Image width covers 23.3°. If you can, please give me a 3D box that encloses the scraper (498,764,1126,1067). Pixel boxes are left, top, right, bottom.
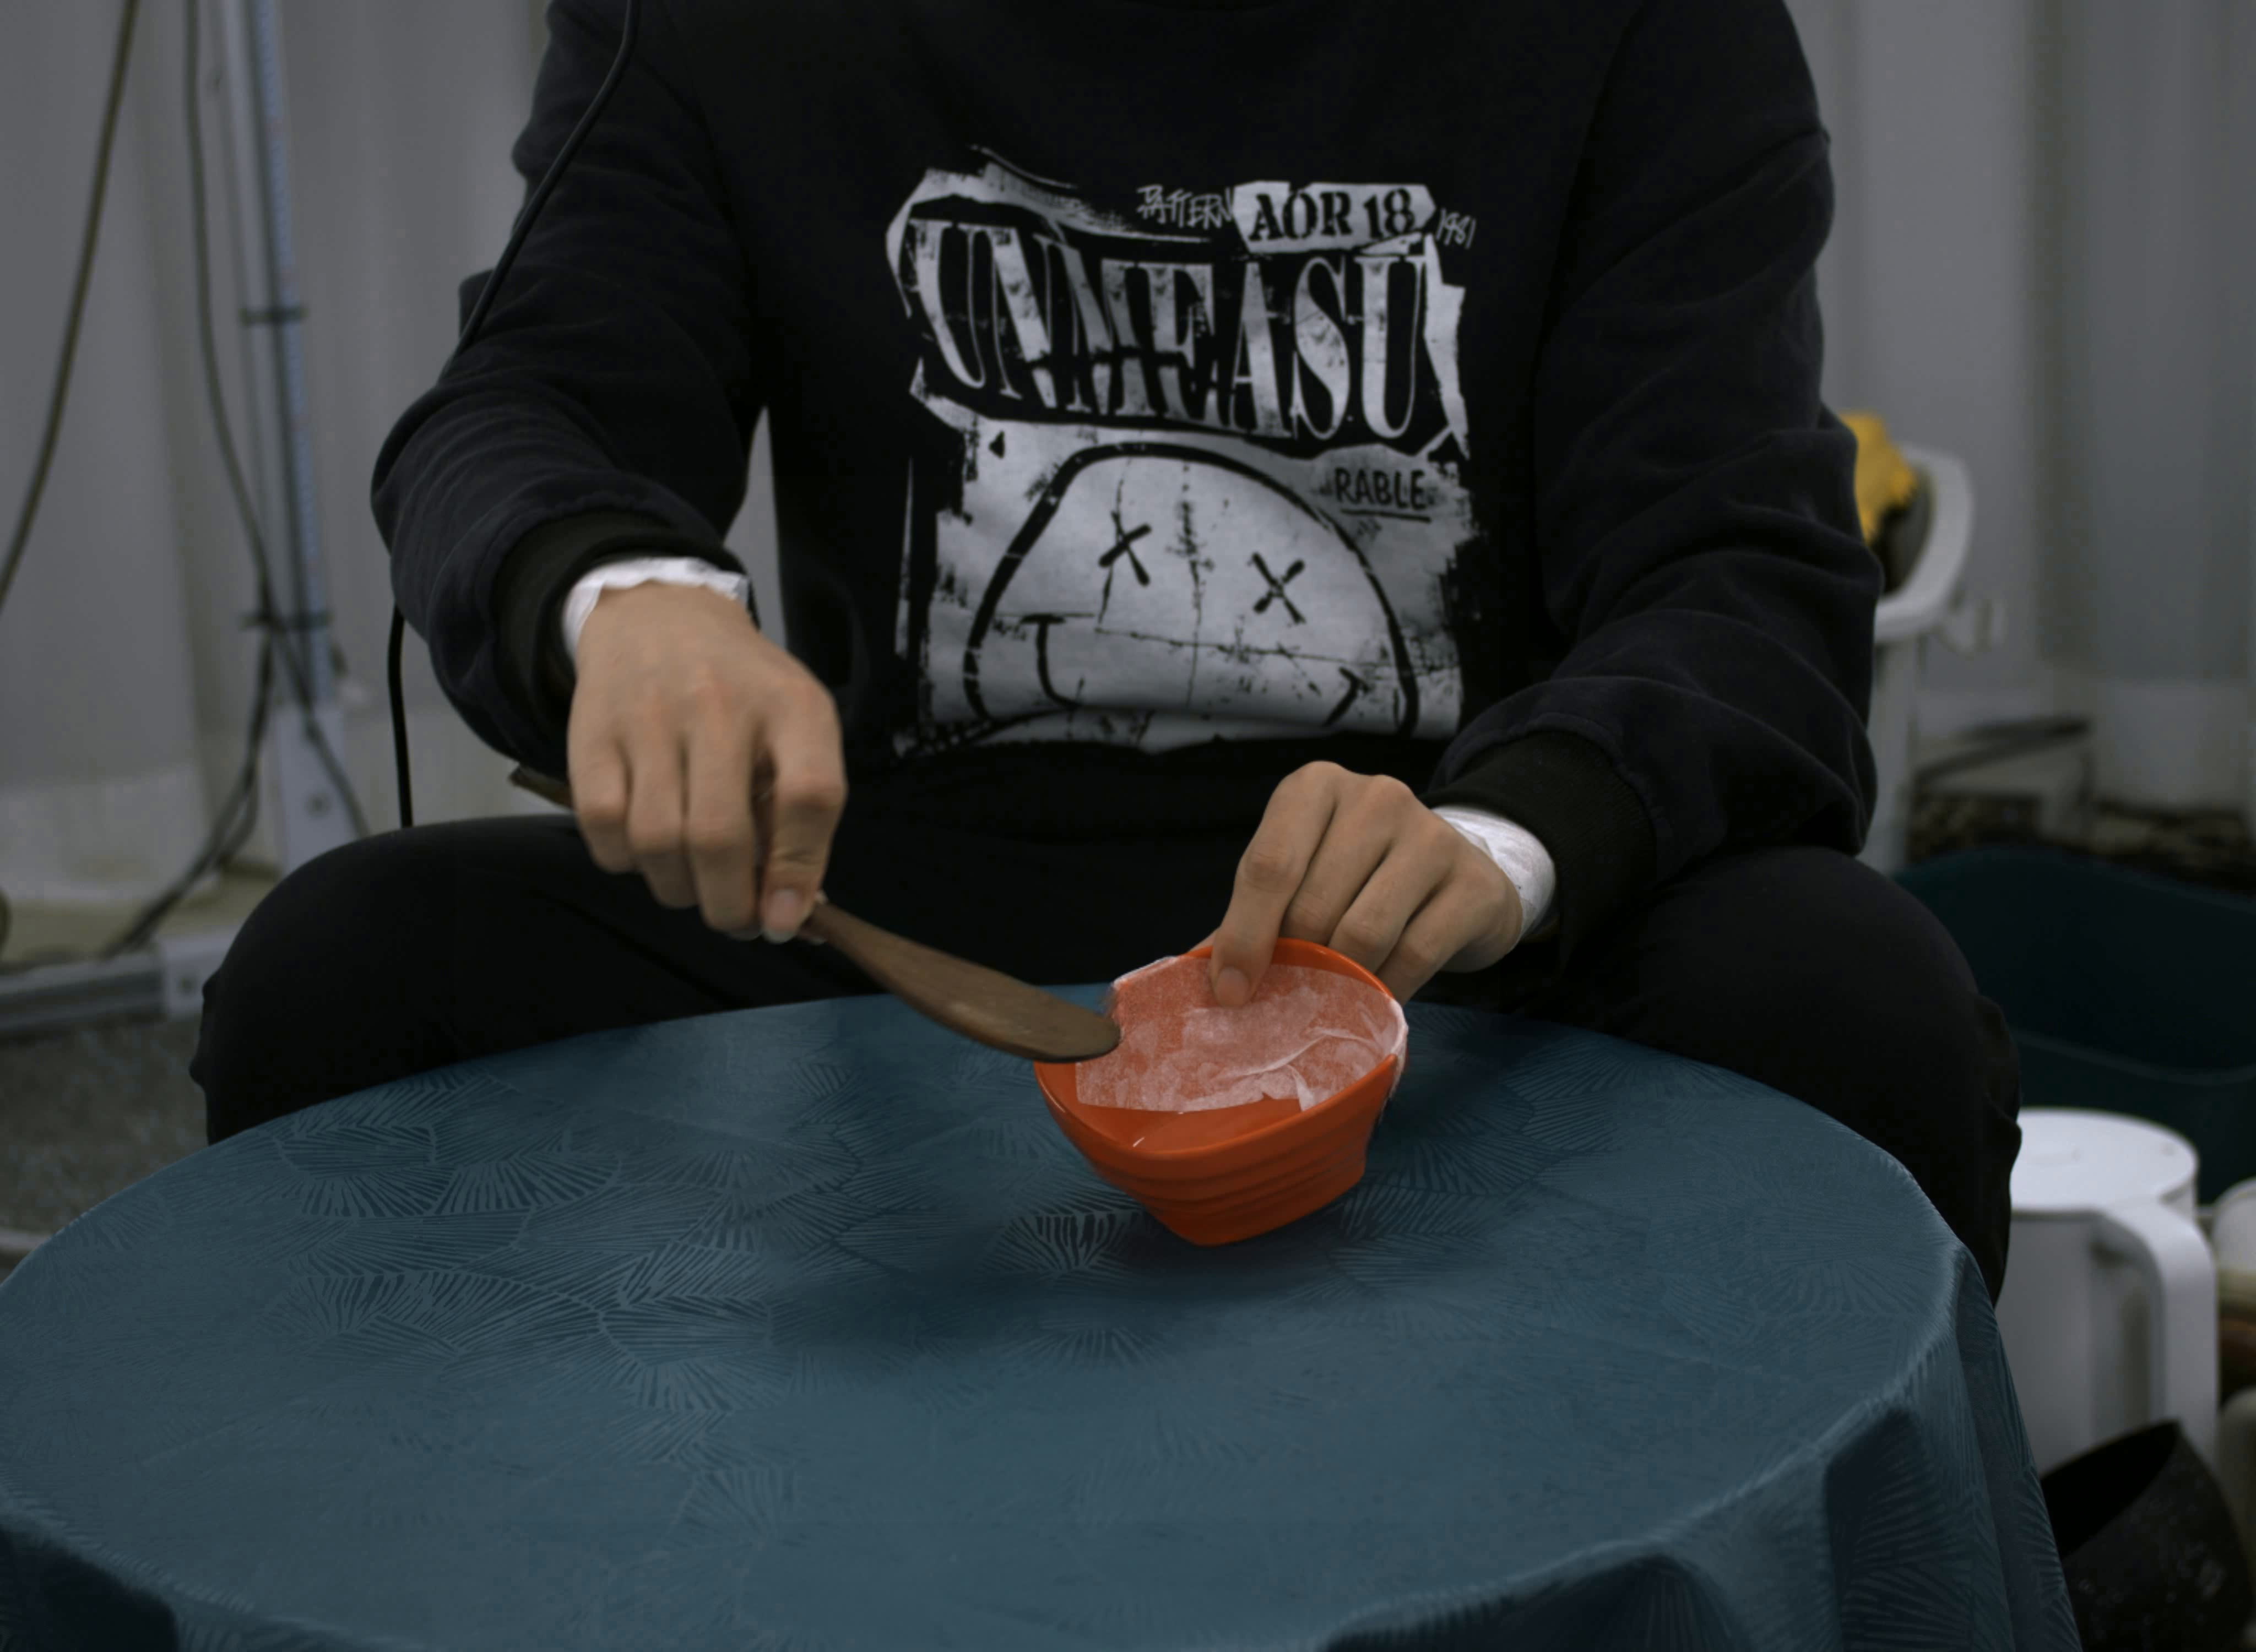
[{"bbox_3d":[-0.099,0.027,1.651,0.212,0.011,0.075,26,12,18],"label":"scraper"}]

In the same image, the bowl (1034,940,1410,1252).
[{"bbox_3d":[0.033,0.088,1.680,0.118,0.051,0.120,-11,29,6],"label":"bowl"}]
